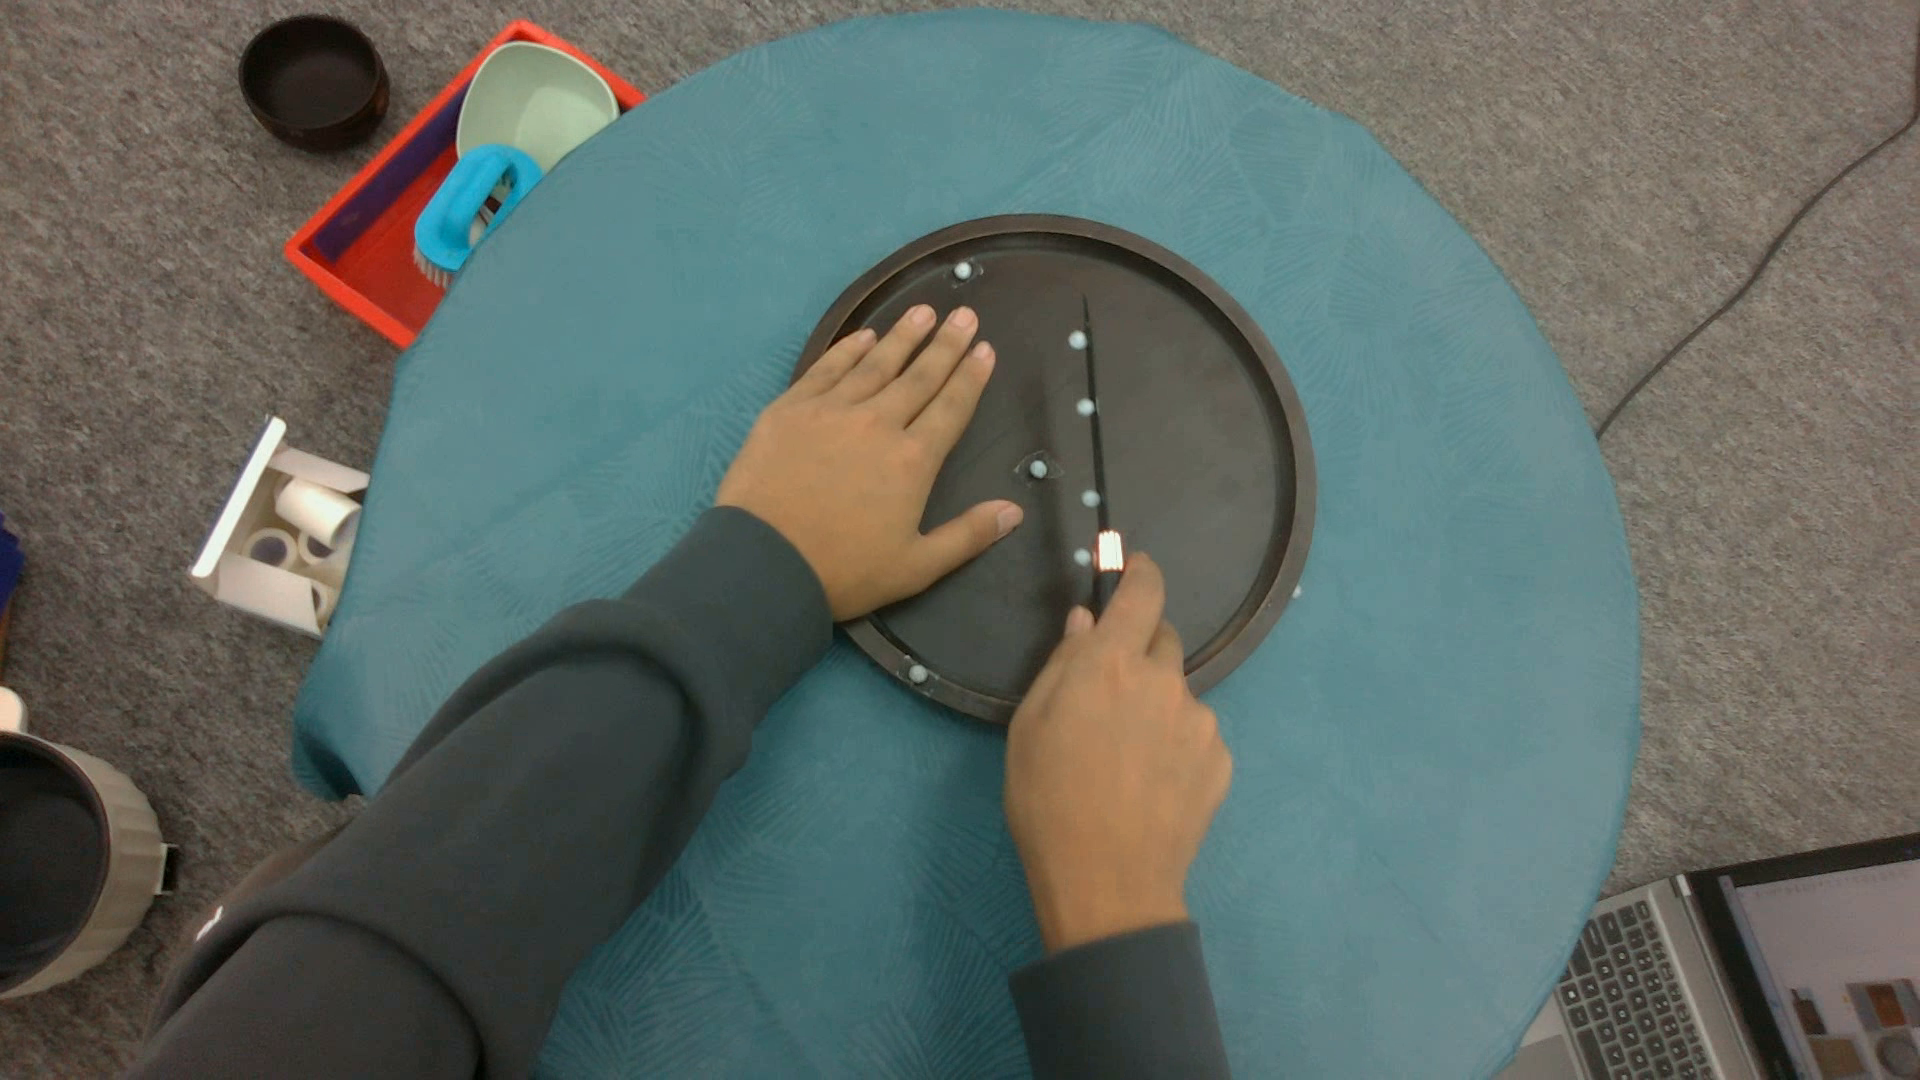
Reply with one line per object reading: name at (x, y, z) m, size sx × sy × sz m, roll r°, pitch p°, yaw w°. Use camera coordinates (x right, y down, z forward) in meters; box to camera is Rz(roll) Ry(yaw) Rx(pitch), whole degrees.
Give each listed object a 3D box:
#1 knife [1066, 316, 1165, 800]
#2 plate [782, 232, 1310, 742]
knife at (0.066, 0.002, 0.609) m, size 0.017 × 0.026 × 0.226 m, roll -6°, pitch 75°, yaw -5°
plate at (0.043, -0.030, 0.654) m, size 0.255 × 0.029 × 0.255 m, roll 2°, pitch 74°, yaw -7°
